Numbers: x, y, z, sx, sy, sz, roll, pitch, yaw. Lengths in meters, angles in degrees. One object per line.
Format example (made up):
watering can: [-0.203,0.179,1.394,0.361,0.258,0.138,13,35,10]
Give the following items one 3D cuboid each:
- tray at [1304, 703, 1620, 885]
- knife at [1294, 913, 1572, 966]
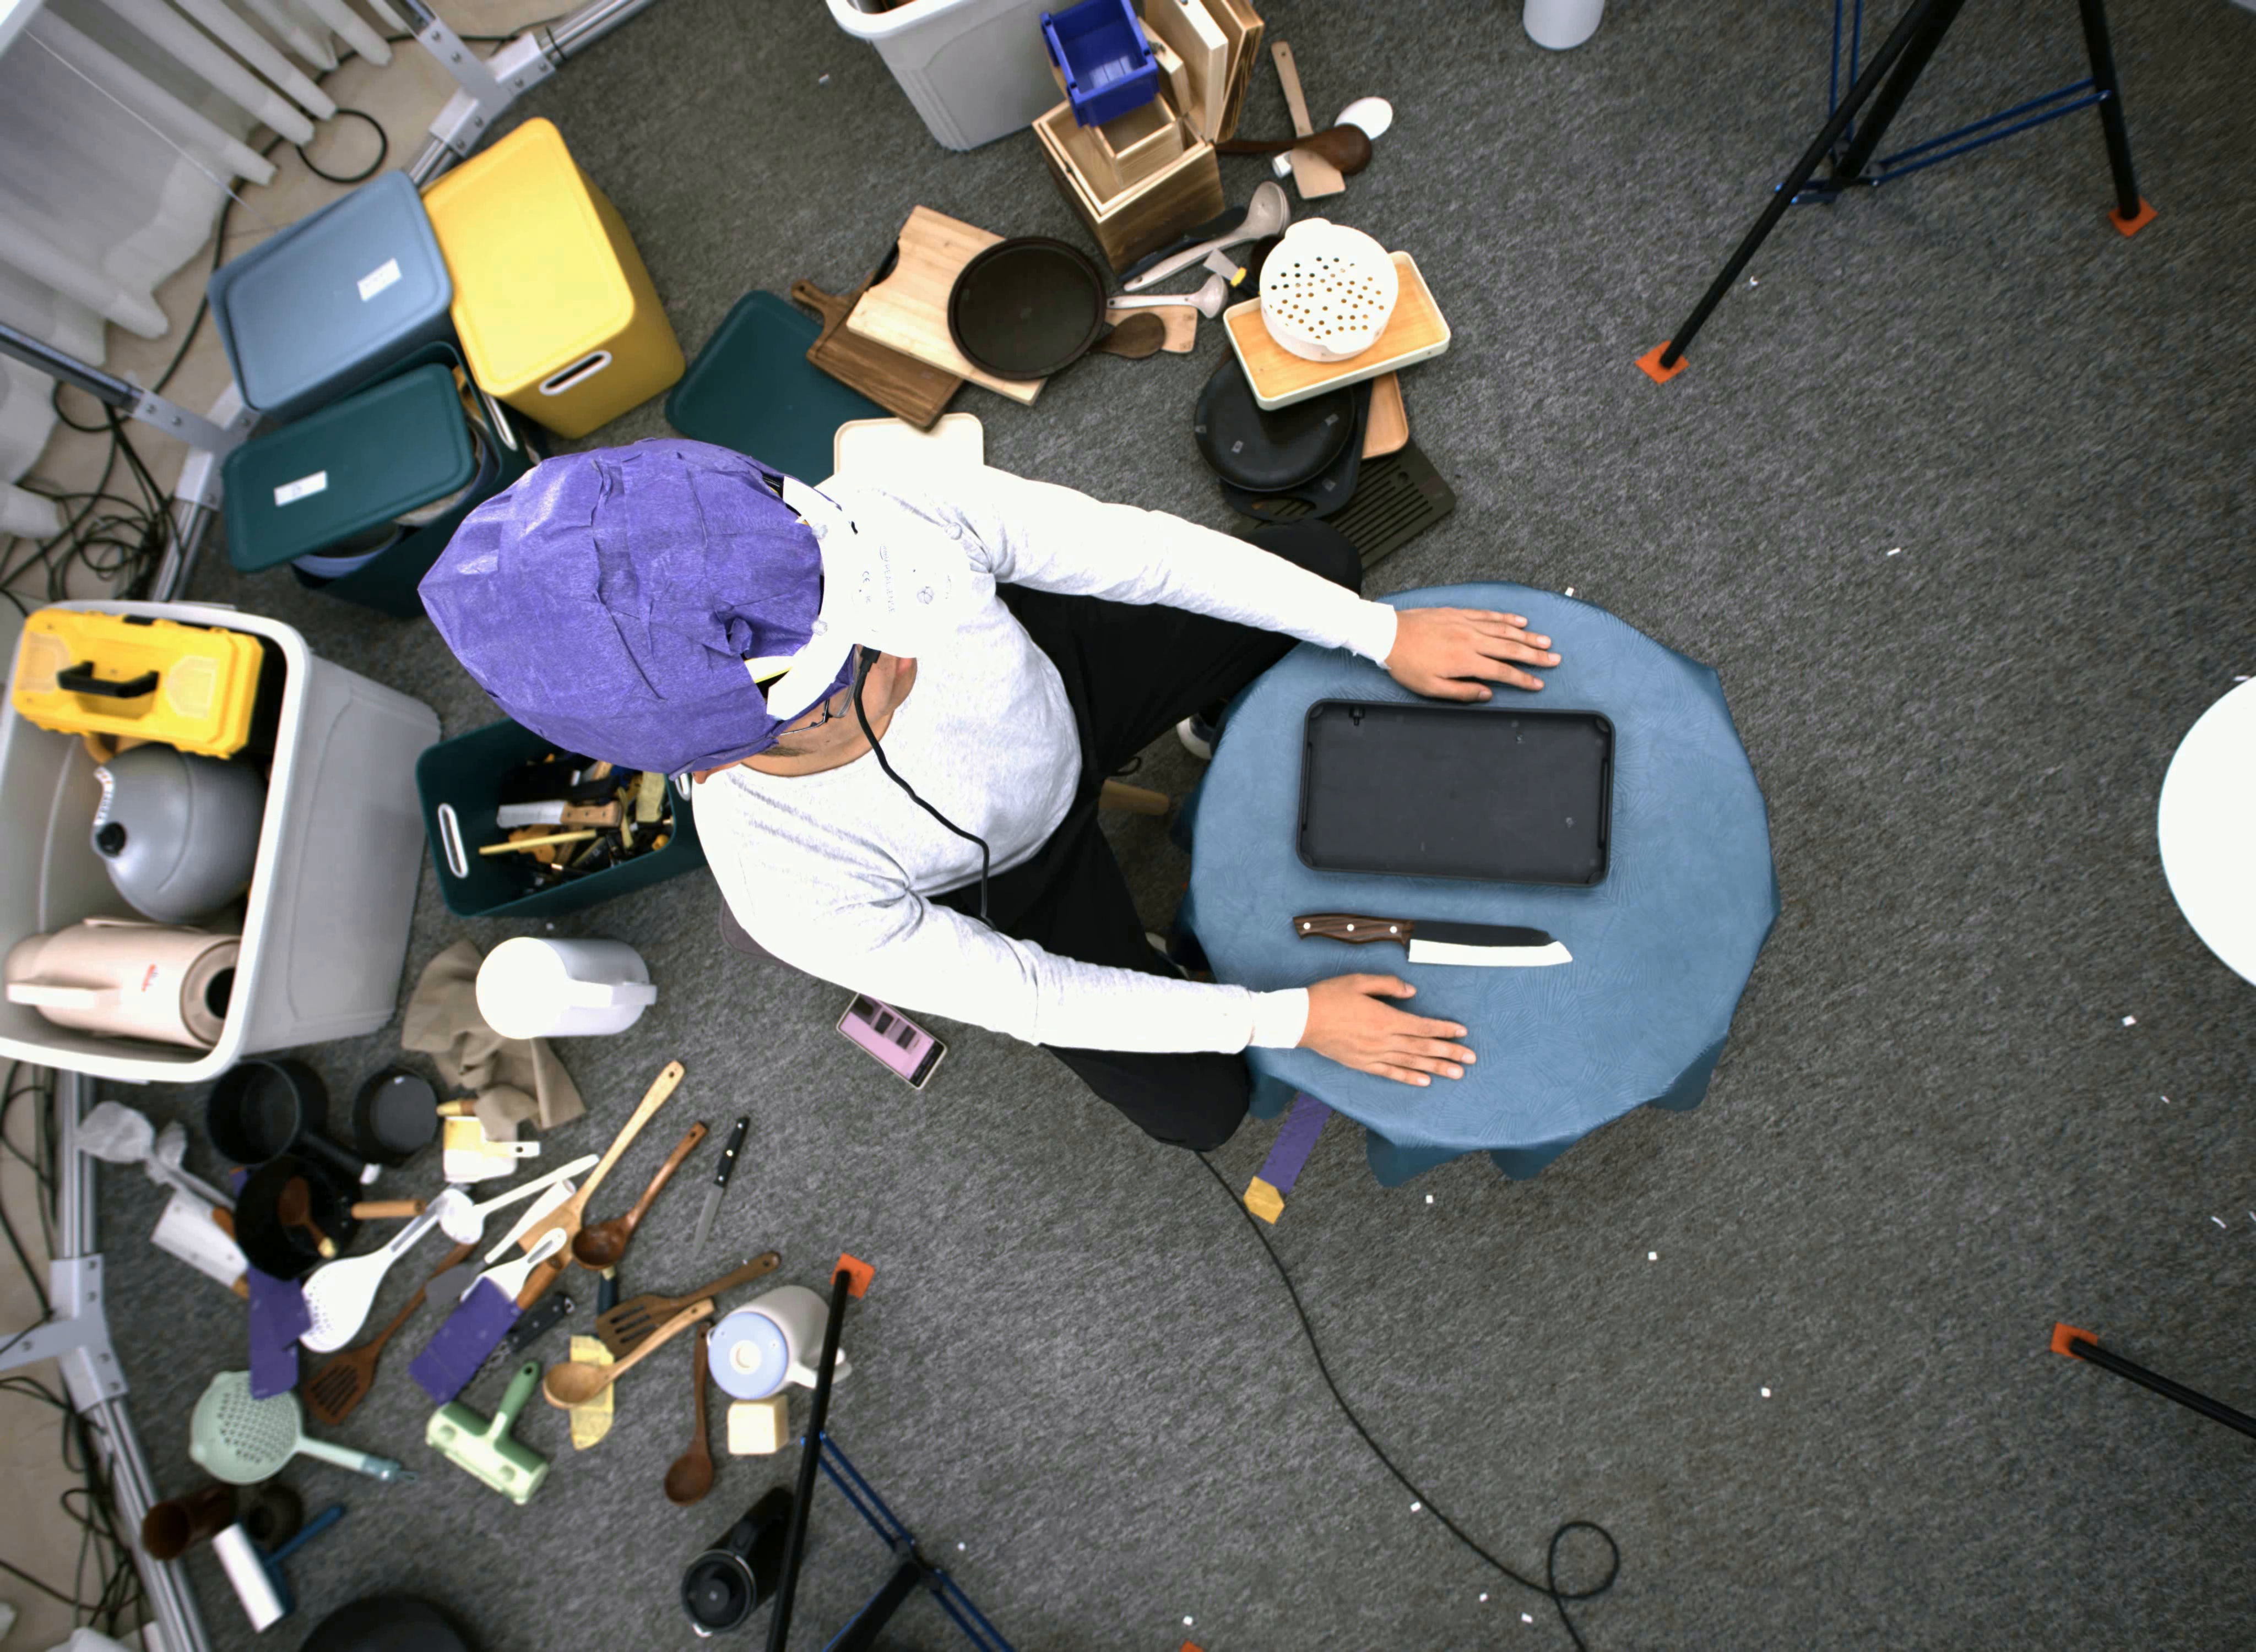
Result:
tray: [0.345,-0.035,1.434,0.319,0.037,0.183,1,87,11]
knife: [0.317,0.117,1.441,0.290,0.020,0.050,5,92,9]
